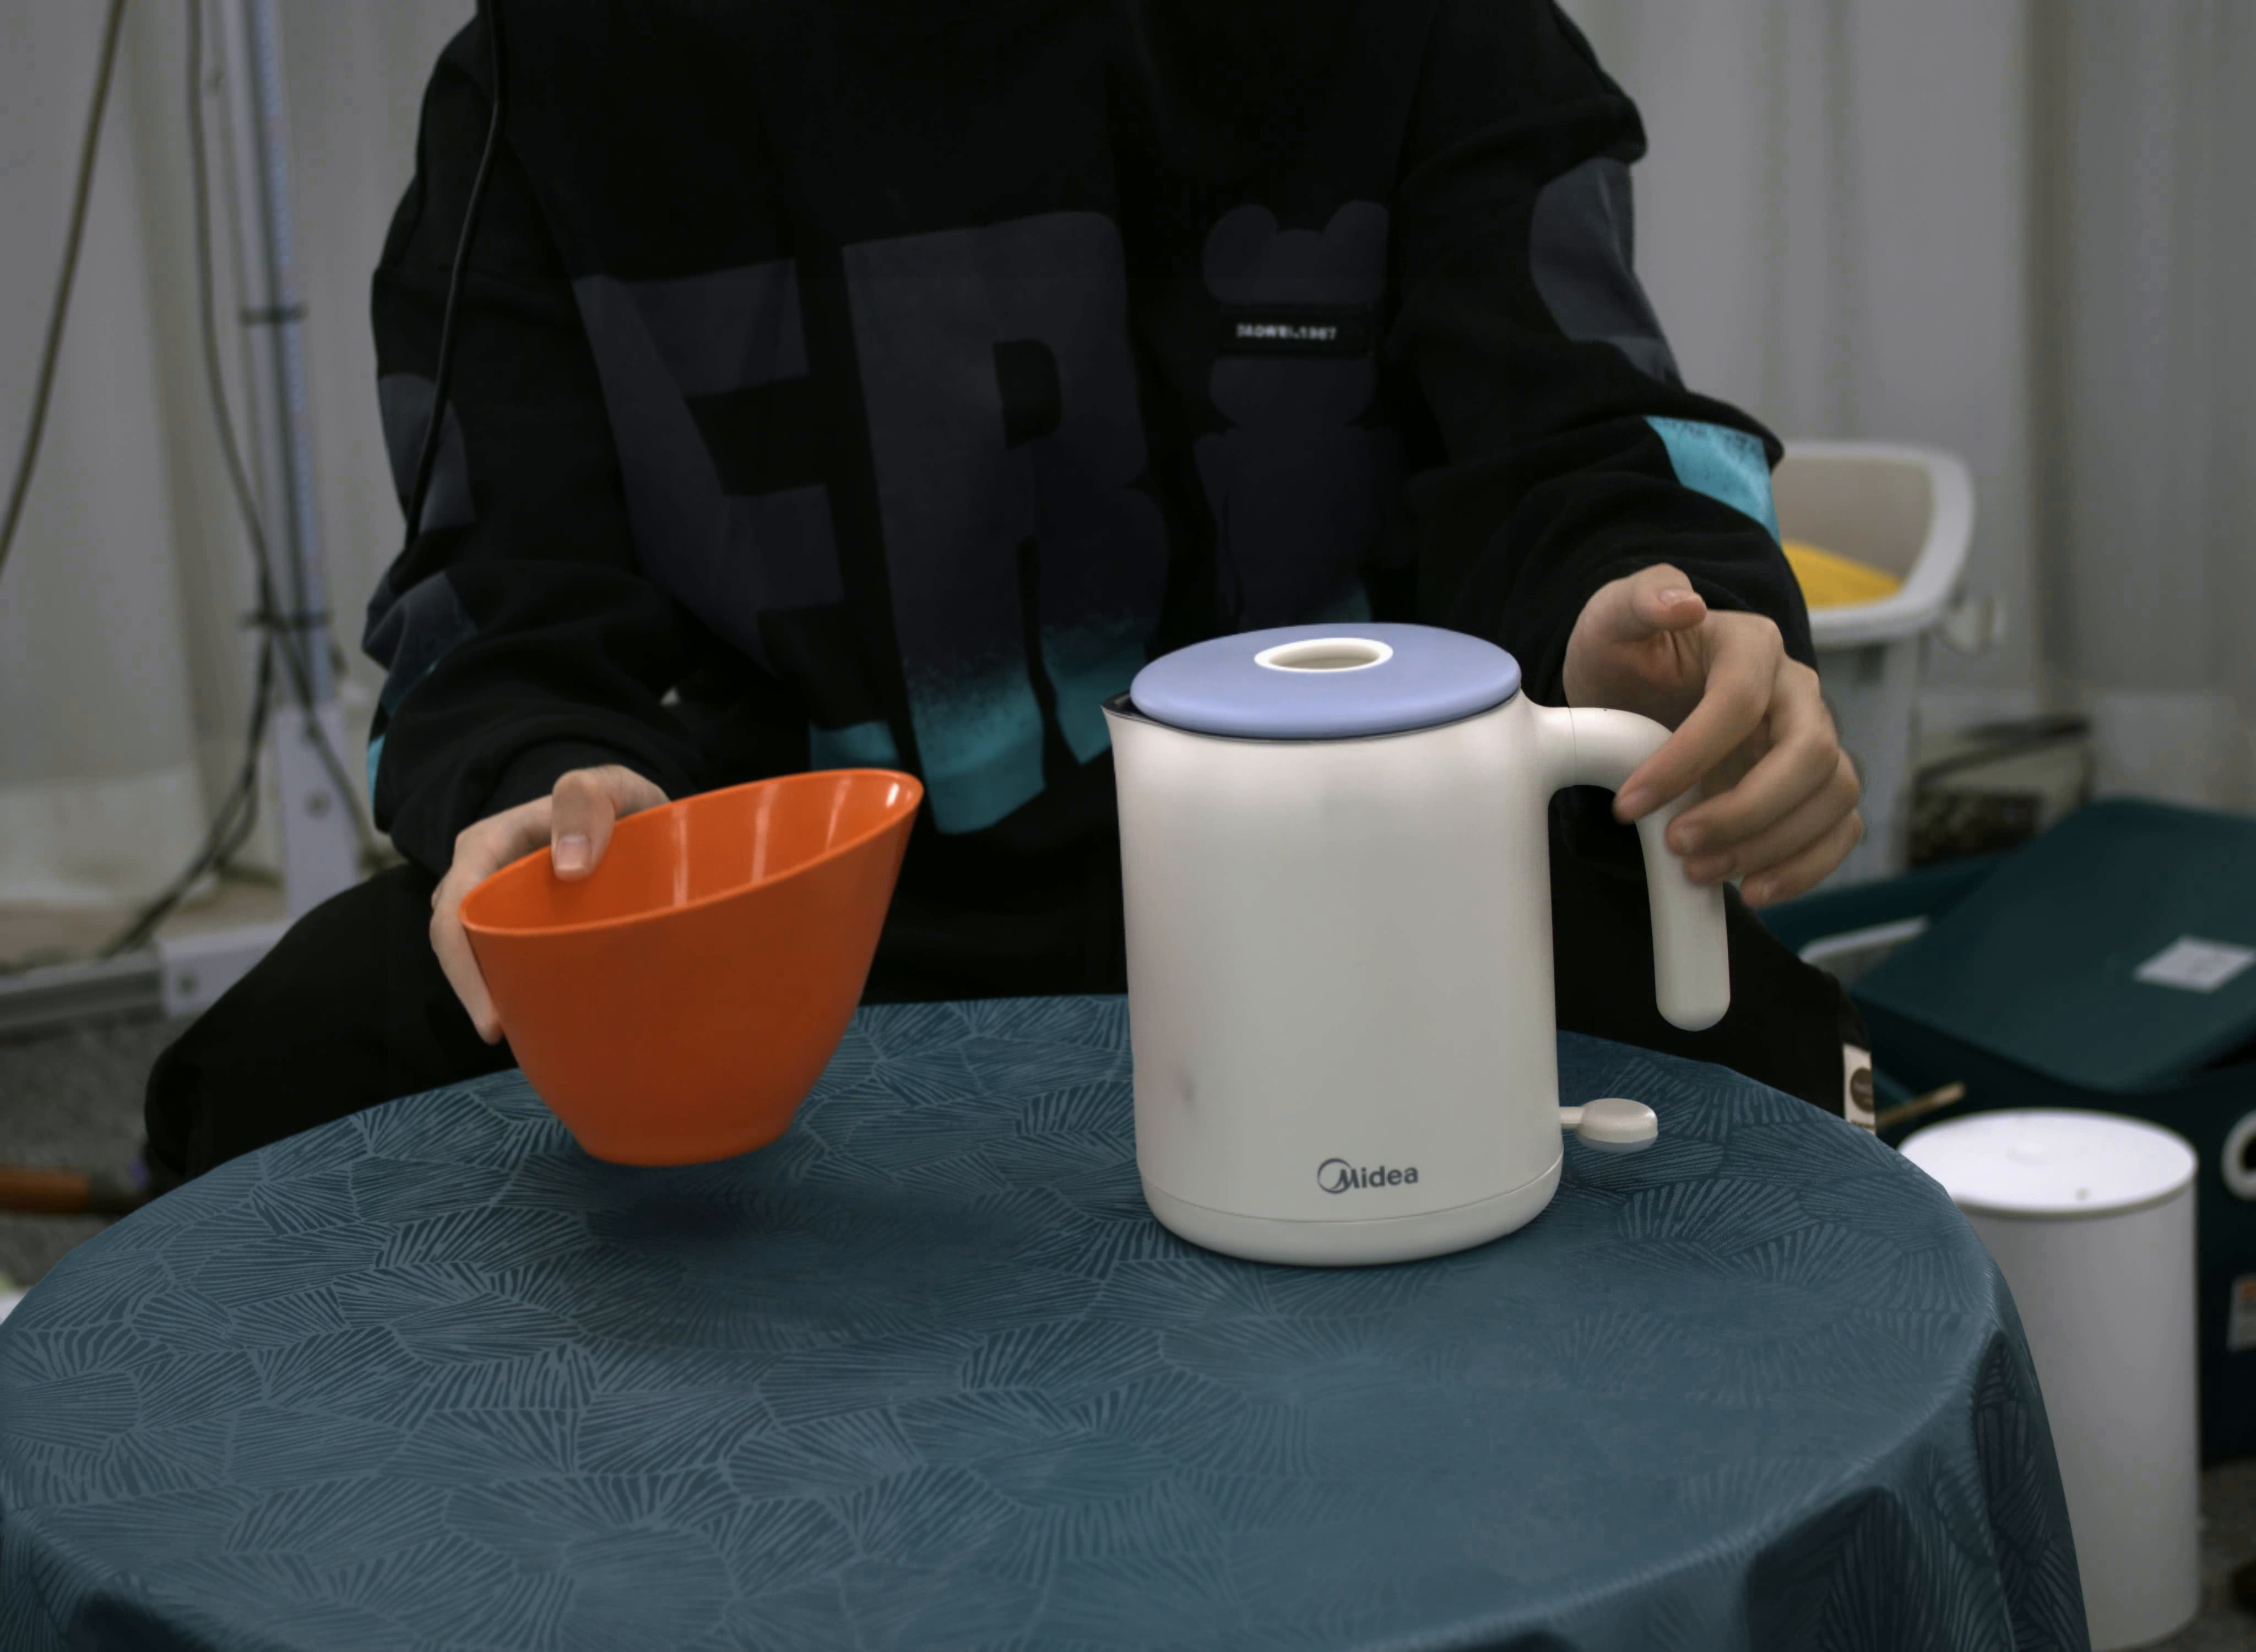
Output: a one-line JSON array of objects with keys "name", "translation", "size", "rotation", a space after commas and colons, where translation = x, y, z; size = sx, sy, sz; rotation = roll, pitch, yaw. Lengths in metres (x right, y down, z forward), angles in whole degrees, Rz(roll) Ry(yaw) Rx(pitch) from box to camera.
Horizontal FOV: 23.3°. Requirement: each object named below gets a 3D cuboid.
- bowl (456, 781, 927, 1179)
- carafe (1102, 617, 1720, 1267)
[{"name": "bowl", "translation": [-0.131, 0.050, 1.690], "size": [0.147, 0.104, 0.149], "rotation": [-4, 16, 1]}, {"name": "carafe", "translation": [0.088, 0.033, 1.673], "size": [0.190, 0.182, 0.133], "rotation": [-2, 15, -4]}]
